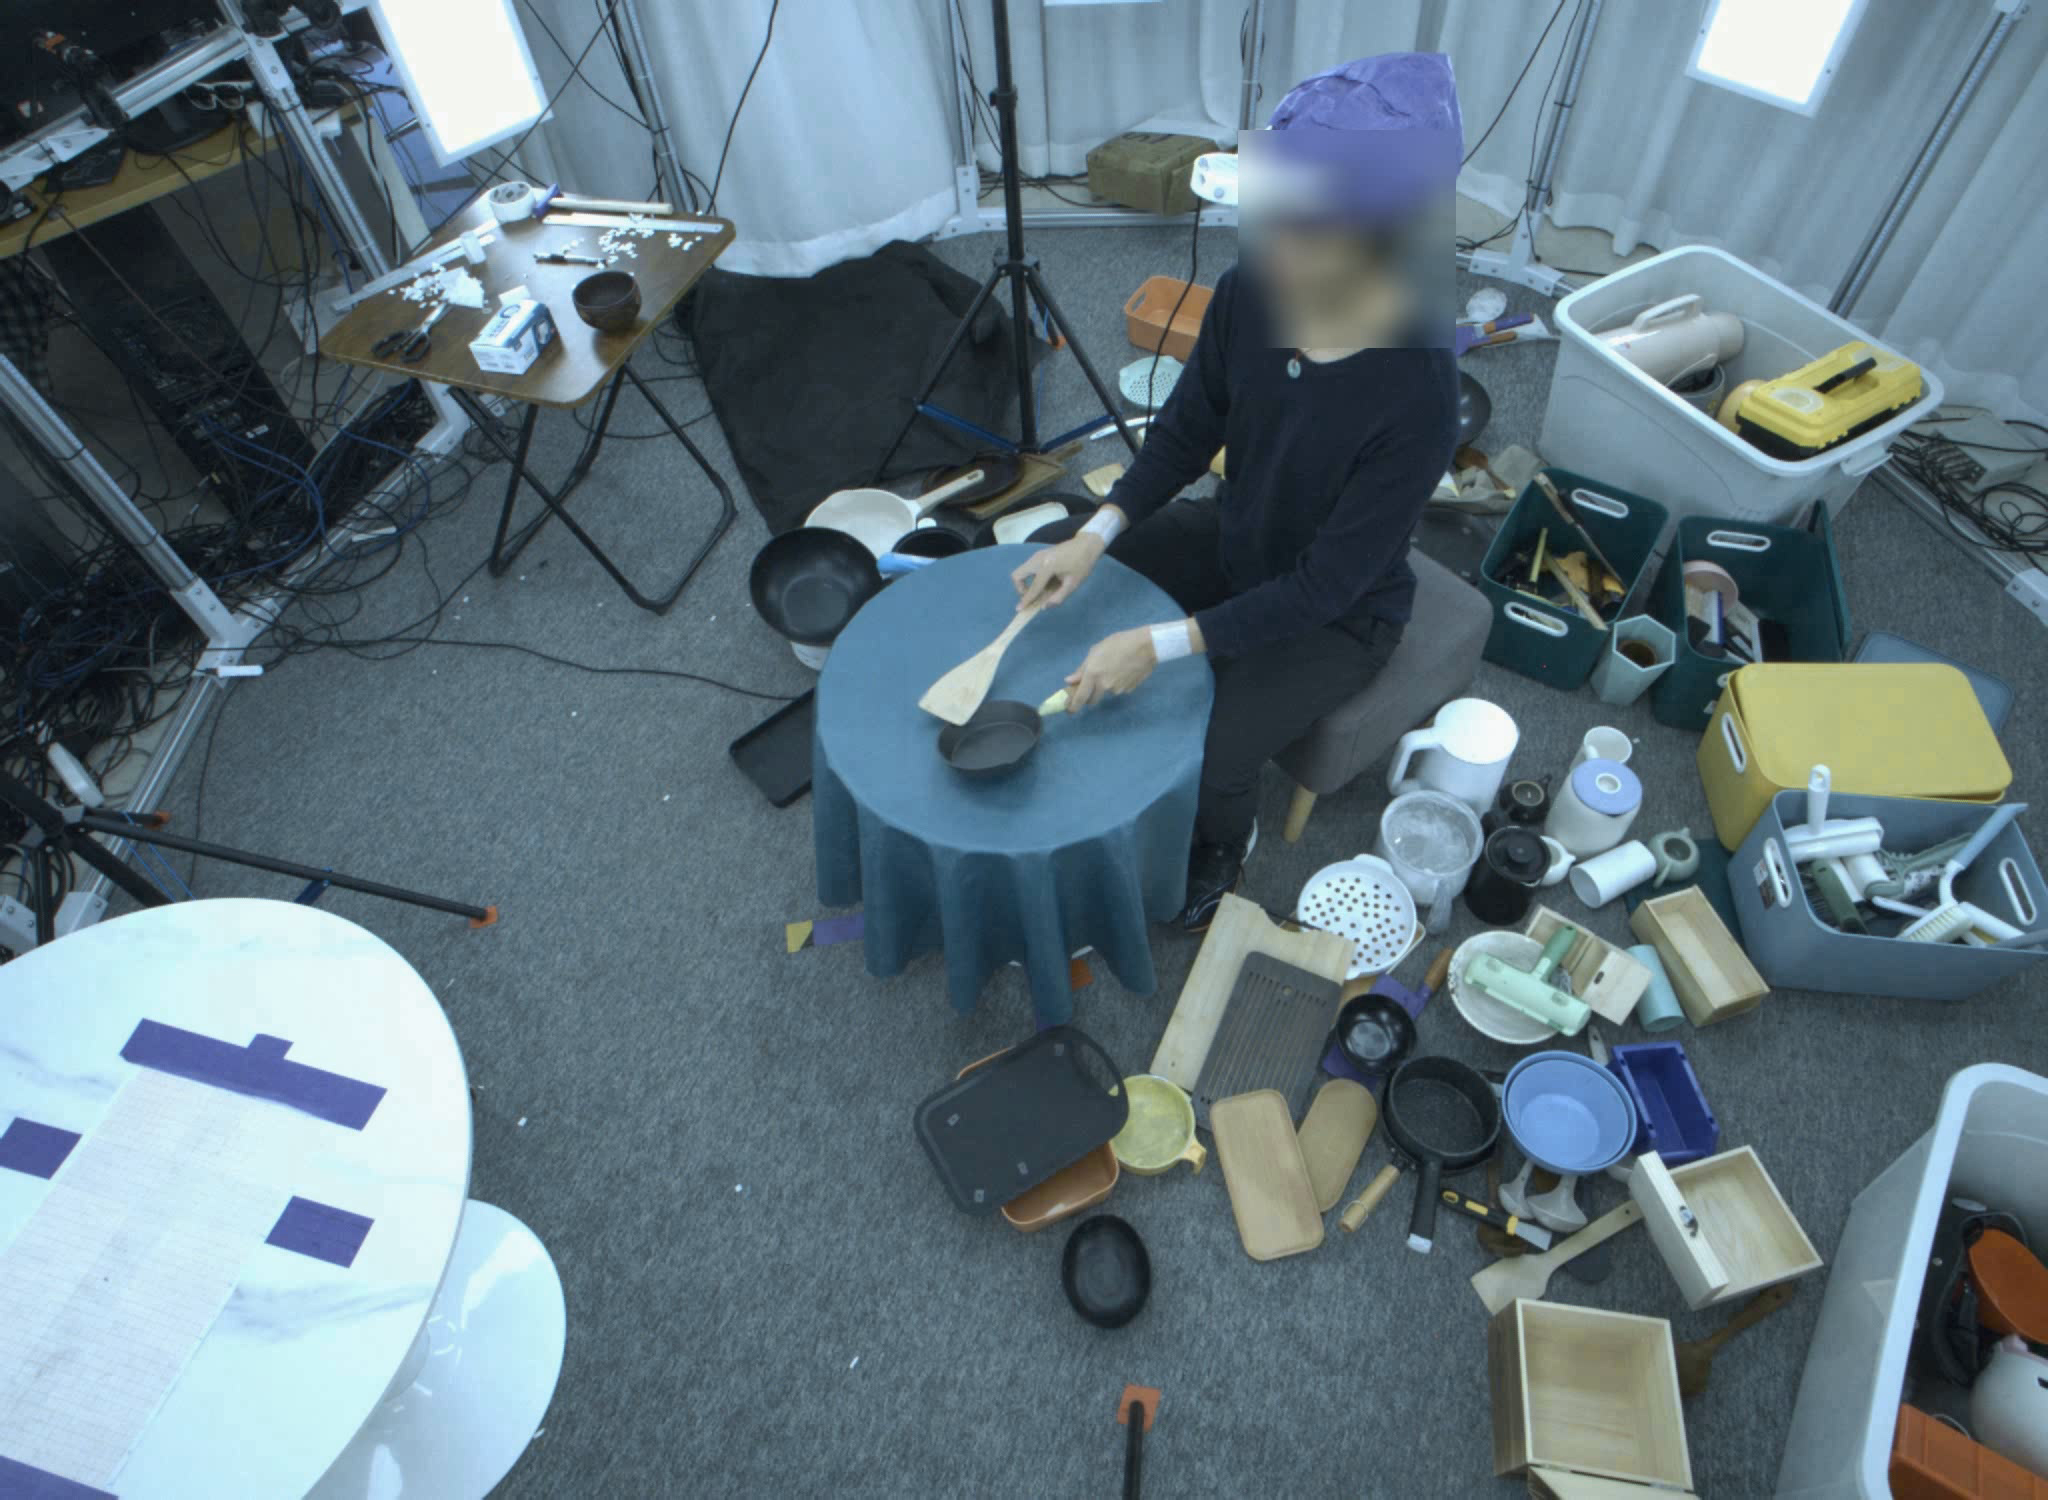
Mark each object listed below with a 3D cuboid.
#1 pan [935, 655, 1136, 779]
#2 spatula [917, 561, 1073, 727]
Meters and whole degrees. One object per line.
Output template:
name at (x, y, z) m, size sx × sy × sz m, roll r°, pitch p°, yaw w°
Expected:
pan at (0.026, -0.053, 1.770) m, size 0.326 × 0.050 × 0.165 m, roll -26°, pitch 39°, yaw -13°
spatula at (-0.029, -0.165, 1.834) m, size 0.079 × 0.016 × 0.328 m, roll 36°, pitch 75°, yaw 11°
